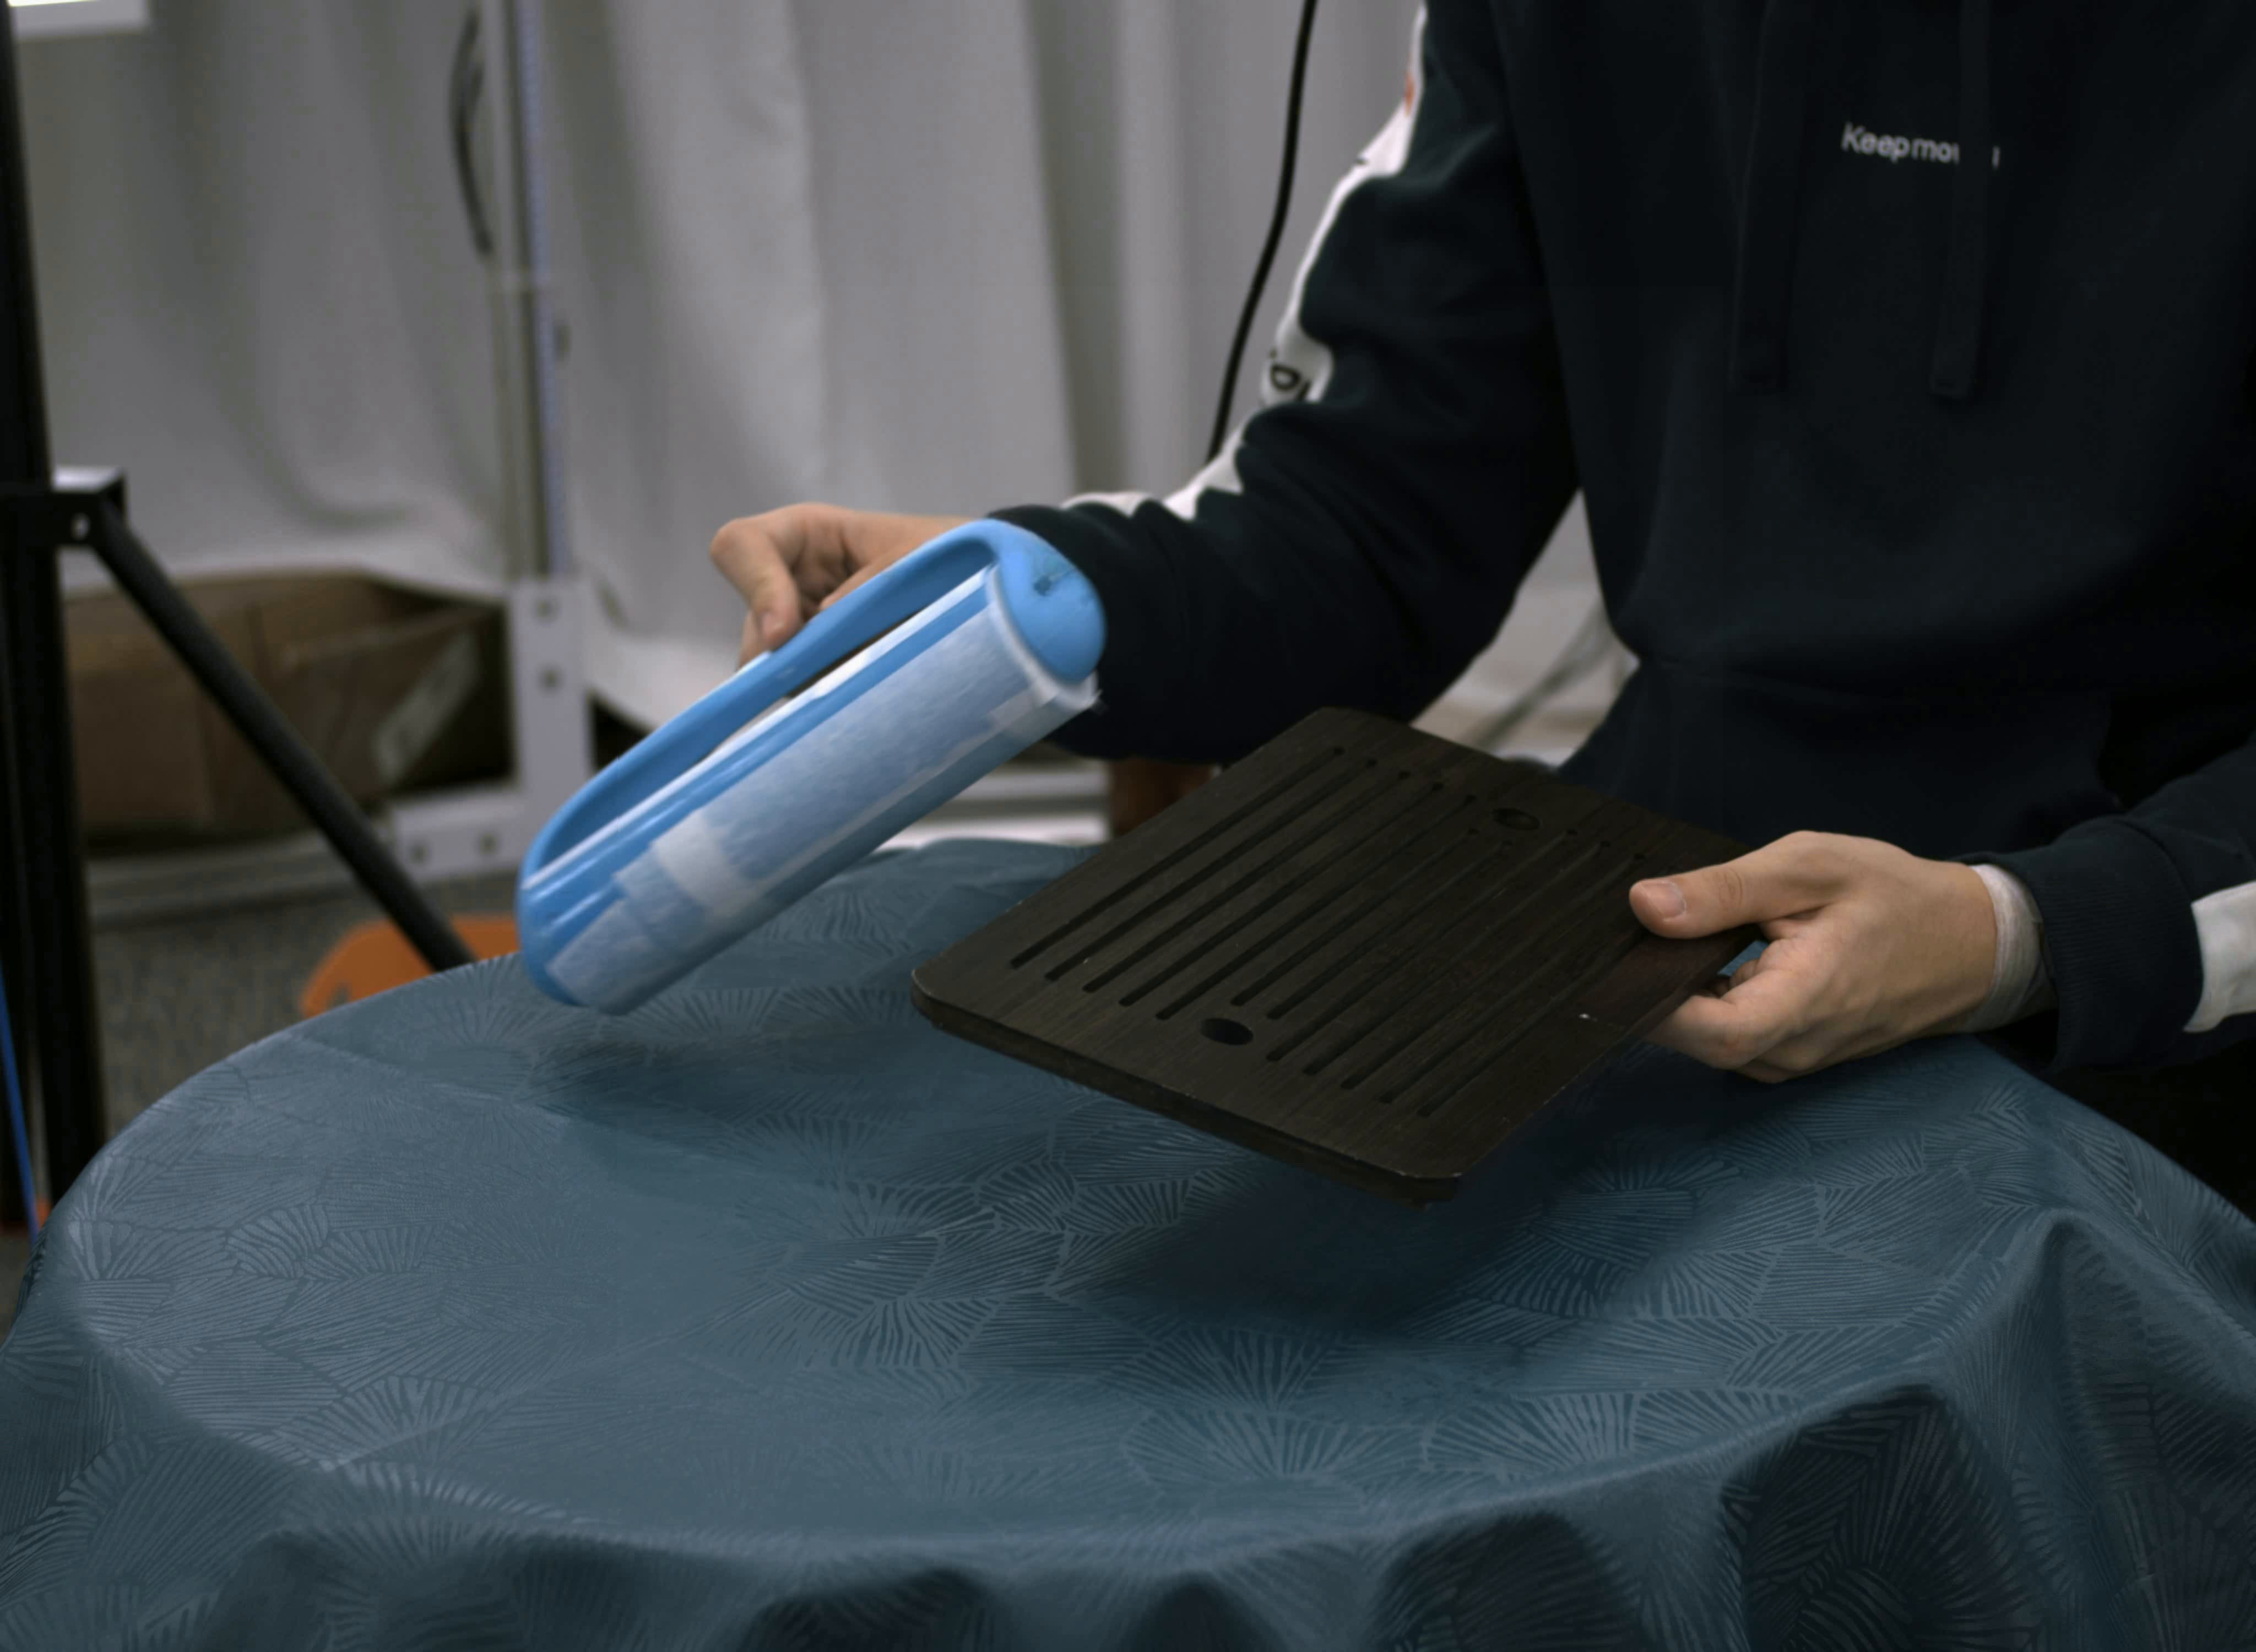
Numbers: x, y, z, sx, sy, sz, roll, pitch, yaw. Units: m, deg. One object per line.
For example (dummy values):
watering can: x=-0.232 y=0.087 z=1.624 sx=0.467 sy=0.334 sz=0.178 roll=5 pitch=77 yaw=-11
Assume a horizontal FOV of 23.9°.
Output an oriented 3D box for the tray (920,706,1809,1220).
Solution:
tray: x=0.076 y=0.036 z=1.560 sx=0.172 sy=0.018 sz=0.301 roll=20 pitch=24 yaw=21

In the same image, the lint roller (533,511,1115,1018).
lint roller: x=-0.090 y=-0.035 z=1.724 sx=0.230 sy=0.067 sz=0.180 roll=-37 pitch=13 yaw=20
